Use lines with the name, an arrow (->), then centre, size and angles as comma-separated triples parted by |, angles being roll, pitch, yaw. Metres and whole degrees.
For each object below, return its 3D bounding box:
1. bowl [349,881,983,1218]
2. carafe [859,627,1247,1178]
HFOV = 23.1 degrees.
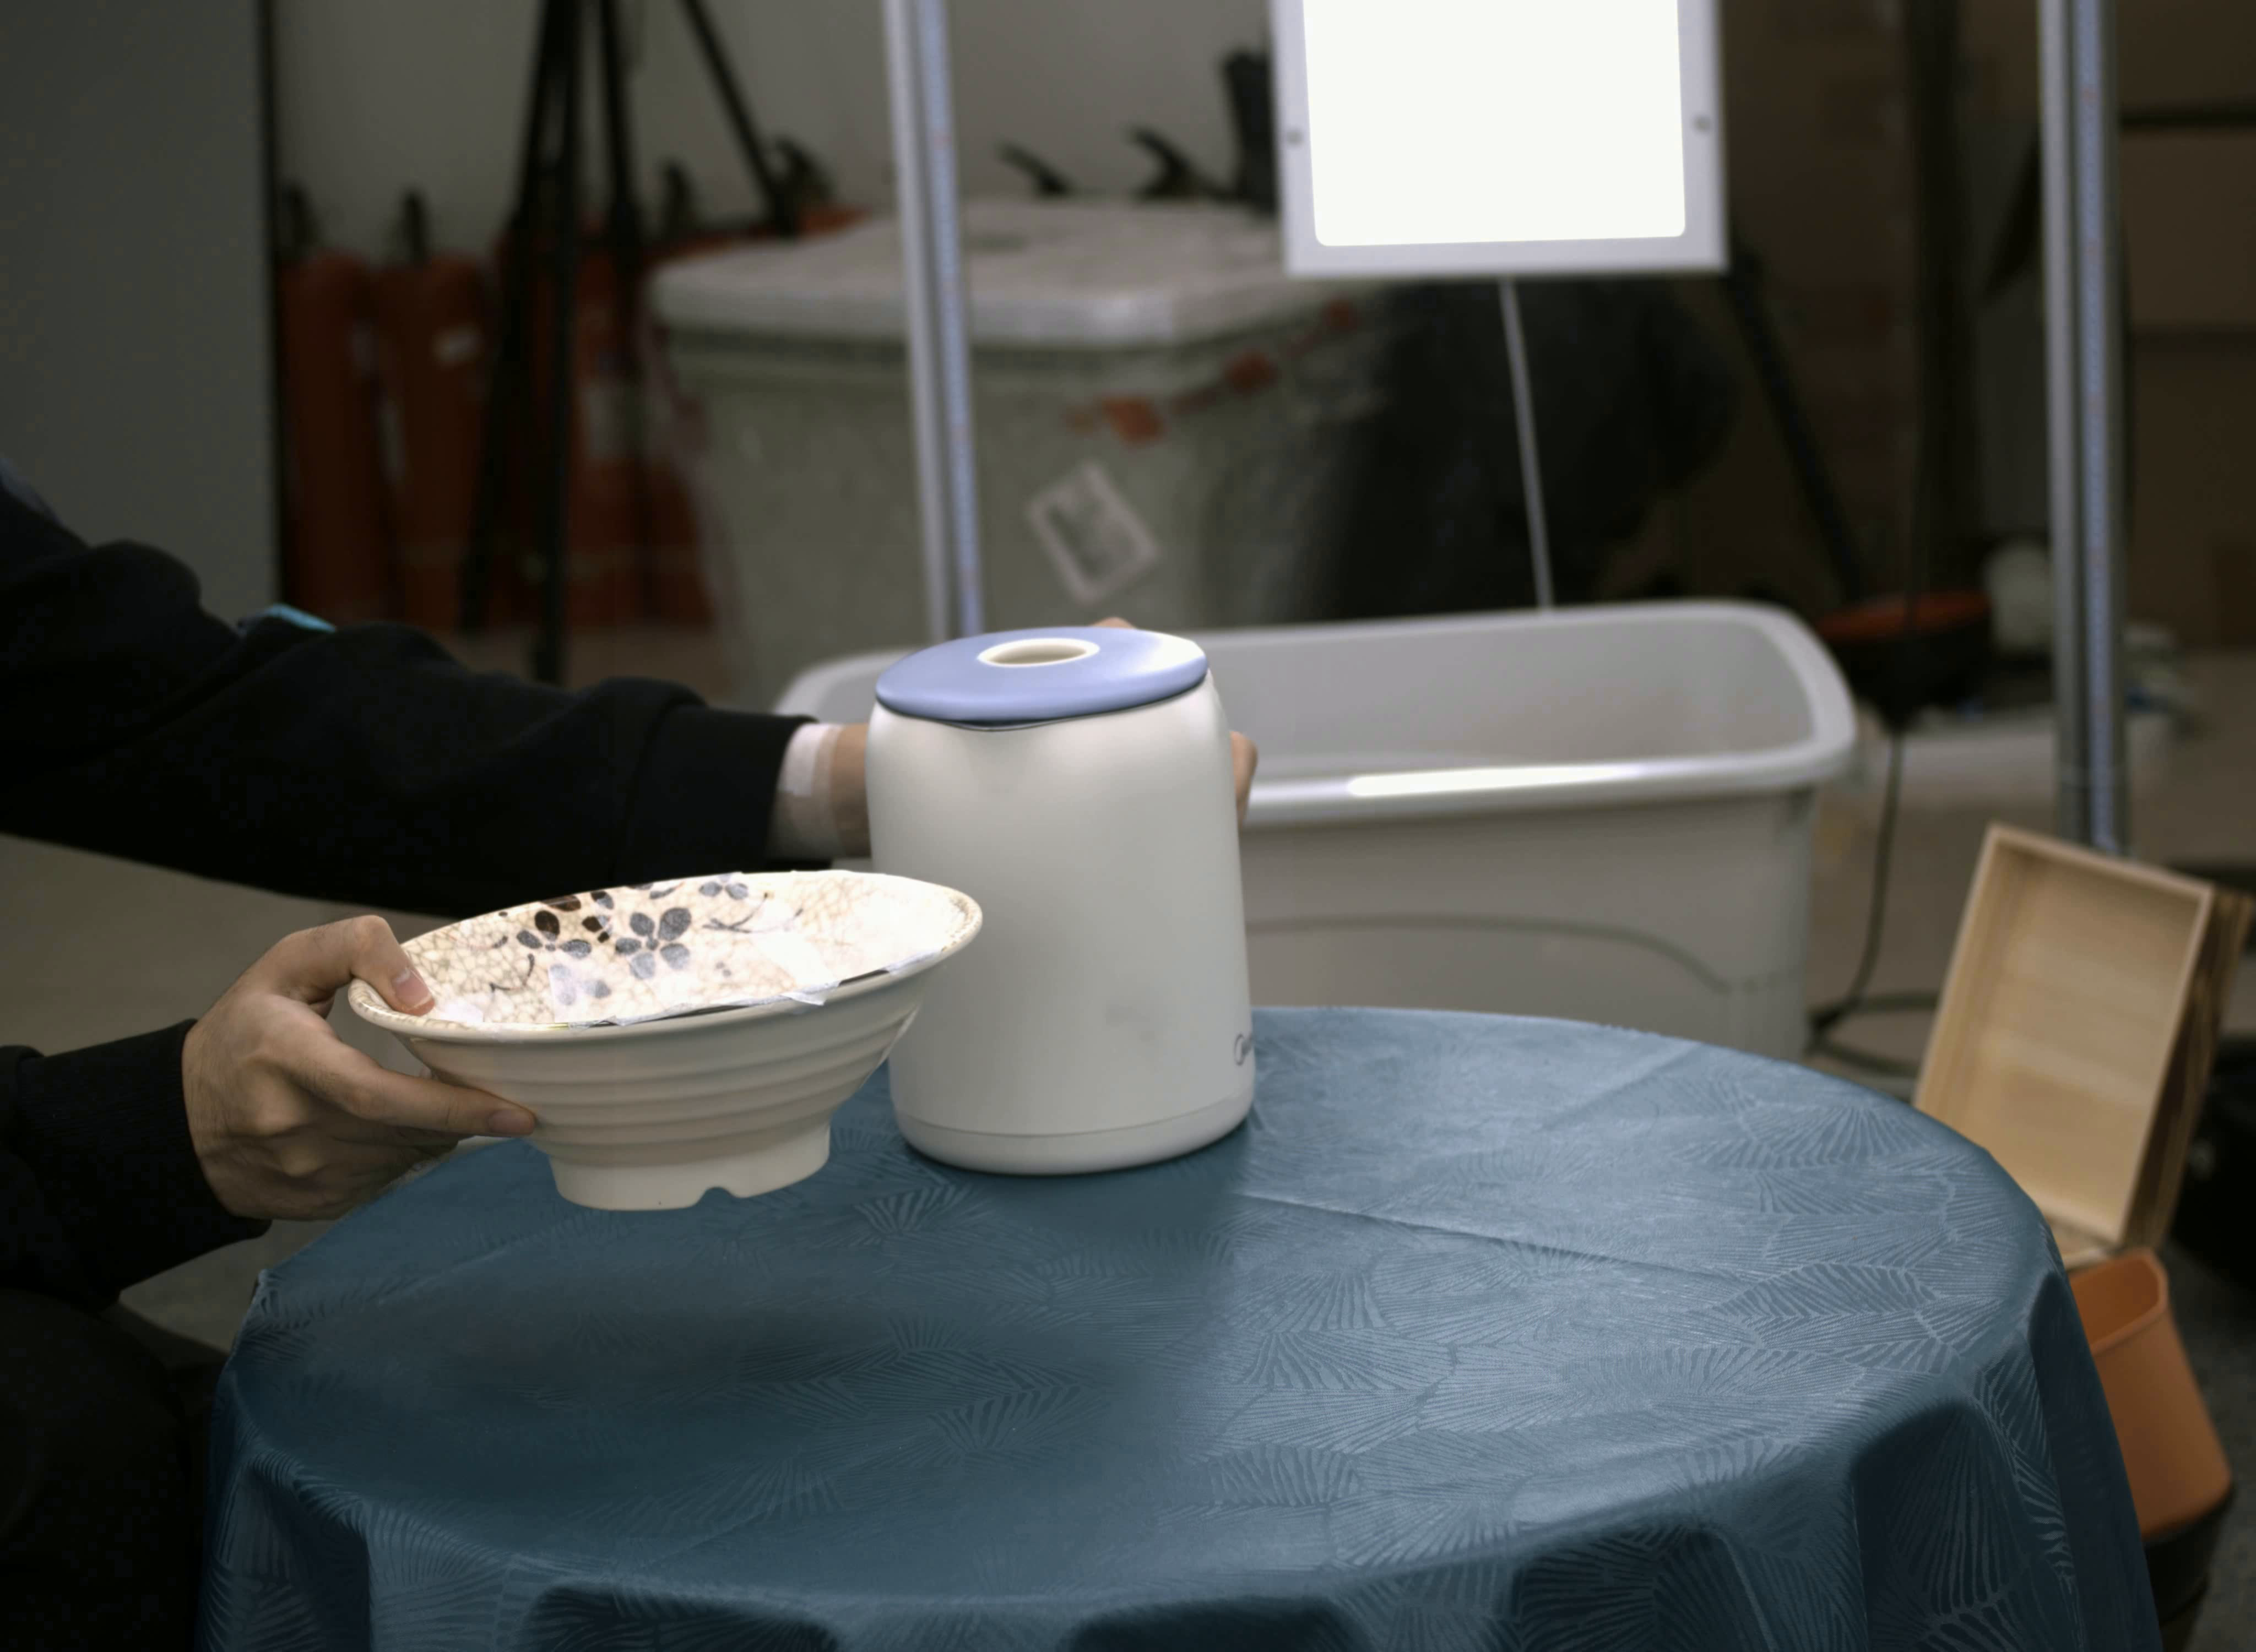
bowl -> -0.141, 0.076, 1.757 | 0.203, 0.078, 0.204 | -9, 9, 0
carafe -> -0.021, 0.021, 1.976 | 0.133, 0.183, 0.188 | 0, 12, 13
